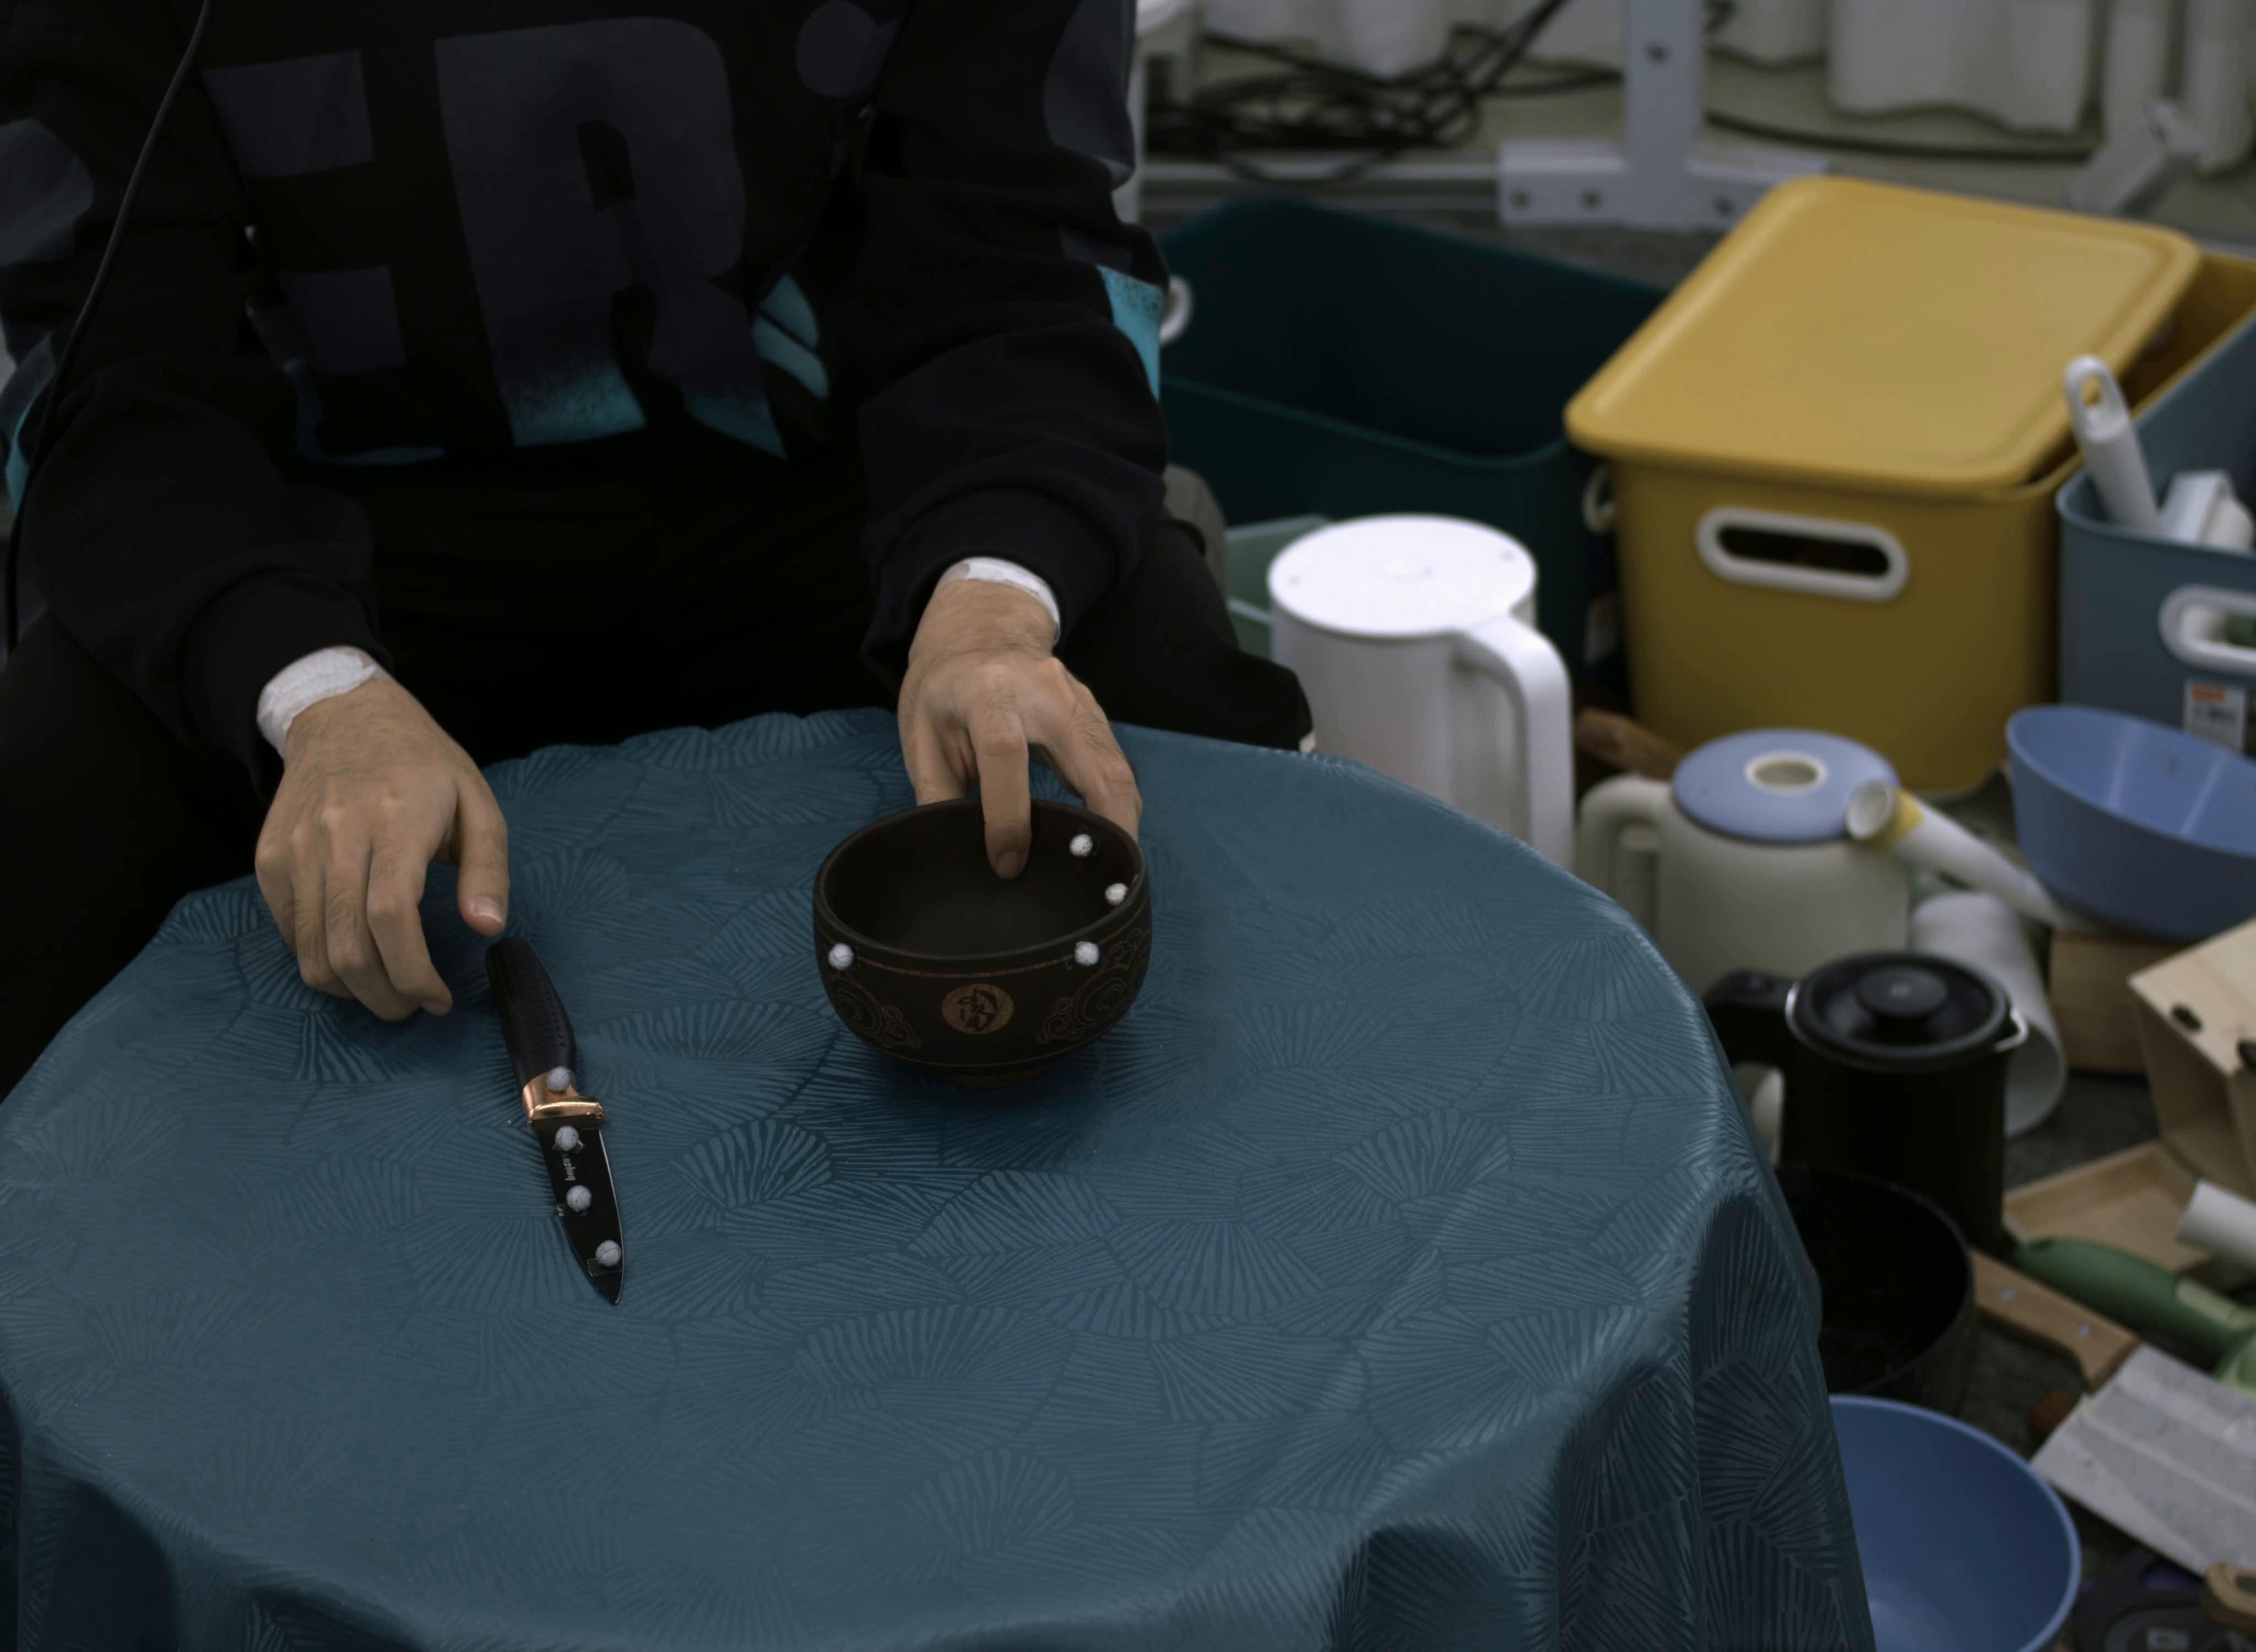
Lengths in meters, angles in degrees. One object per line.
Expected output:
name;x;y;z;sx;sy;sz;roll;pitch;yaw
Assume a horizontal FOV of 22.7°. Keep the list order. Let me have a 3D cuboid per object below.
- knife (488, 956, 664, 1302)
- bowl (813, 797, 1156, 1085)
knife;-0.189;0.102;1.907;0.026;0.017;0.228;-3;28;-16
bowl;-0.048;0.046;1.932;0.117;0.069;0.120;-2;25;1
